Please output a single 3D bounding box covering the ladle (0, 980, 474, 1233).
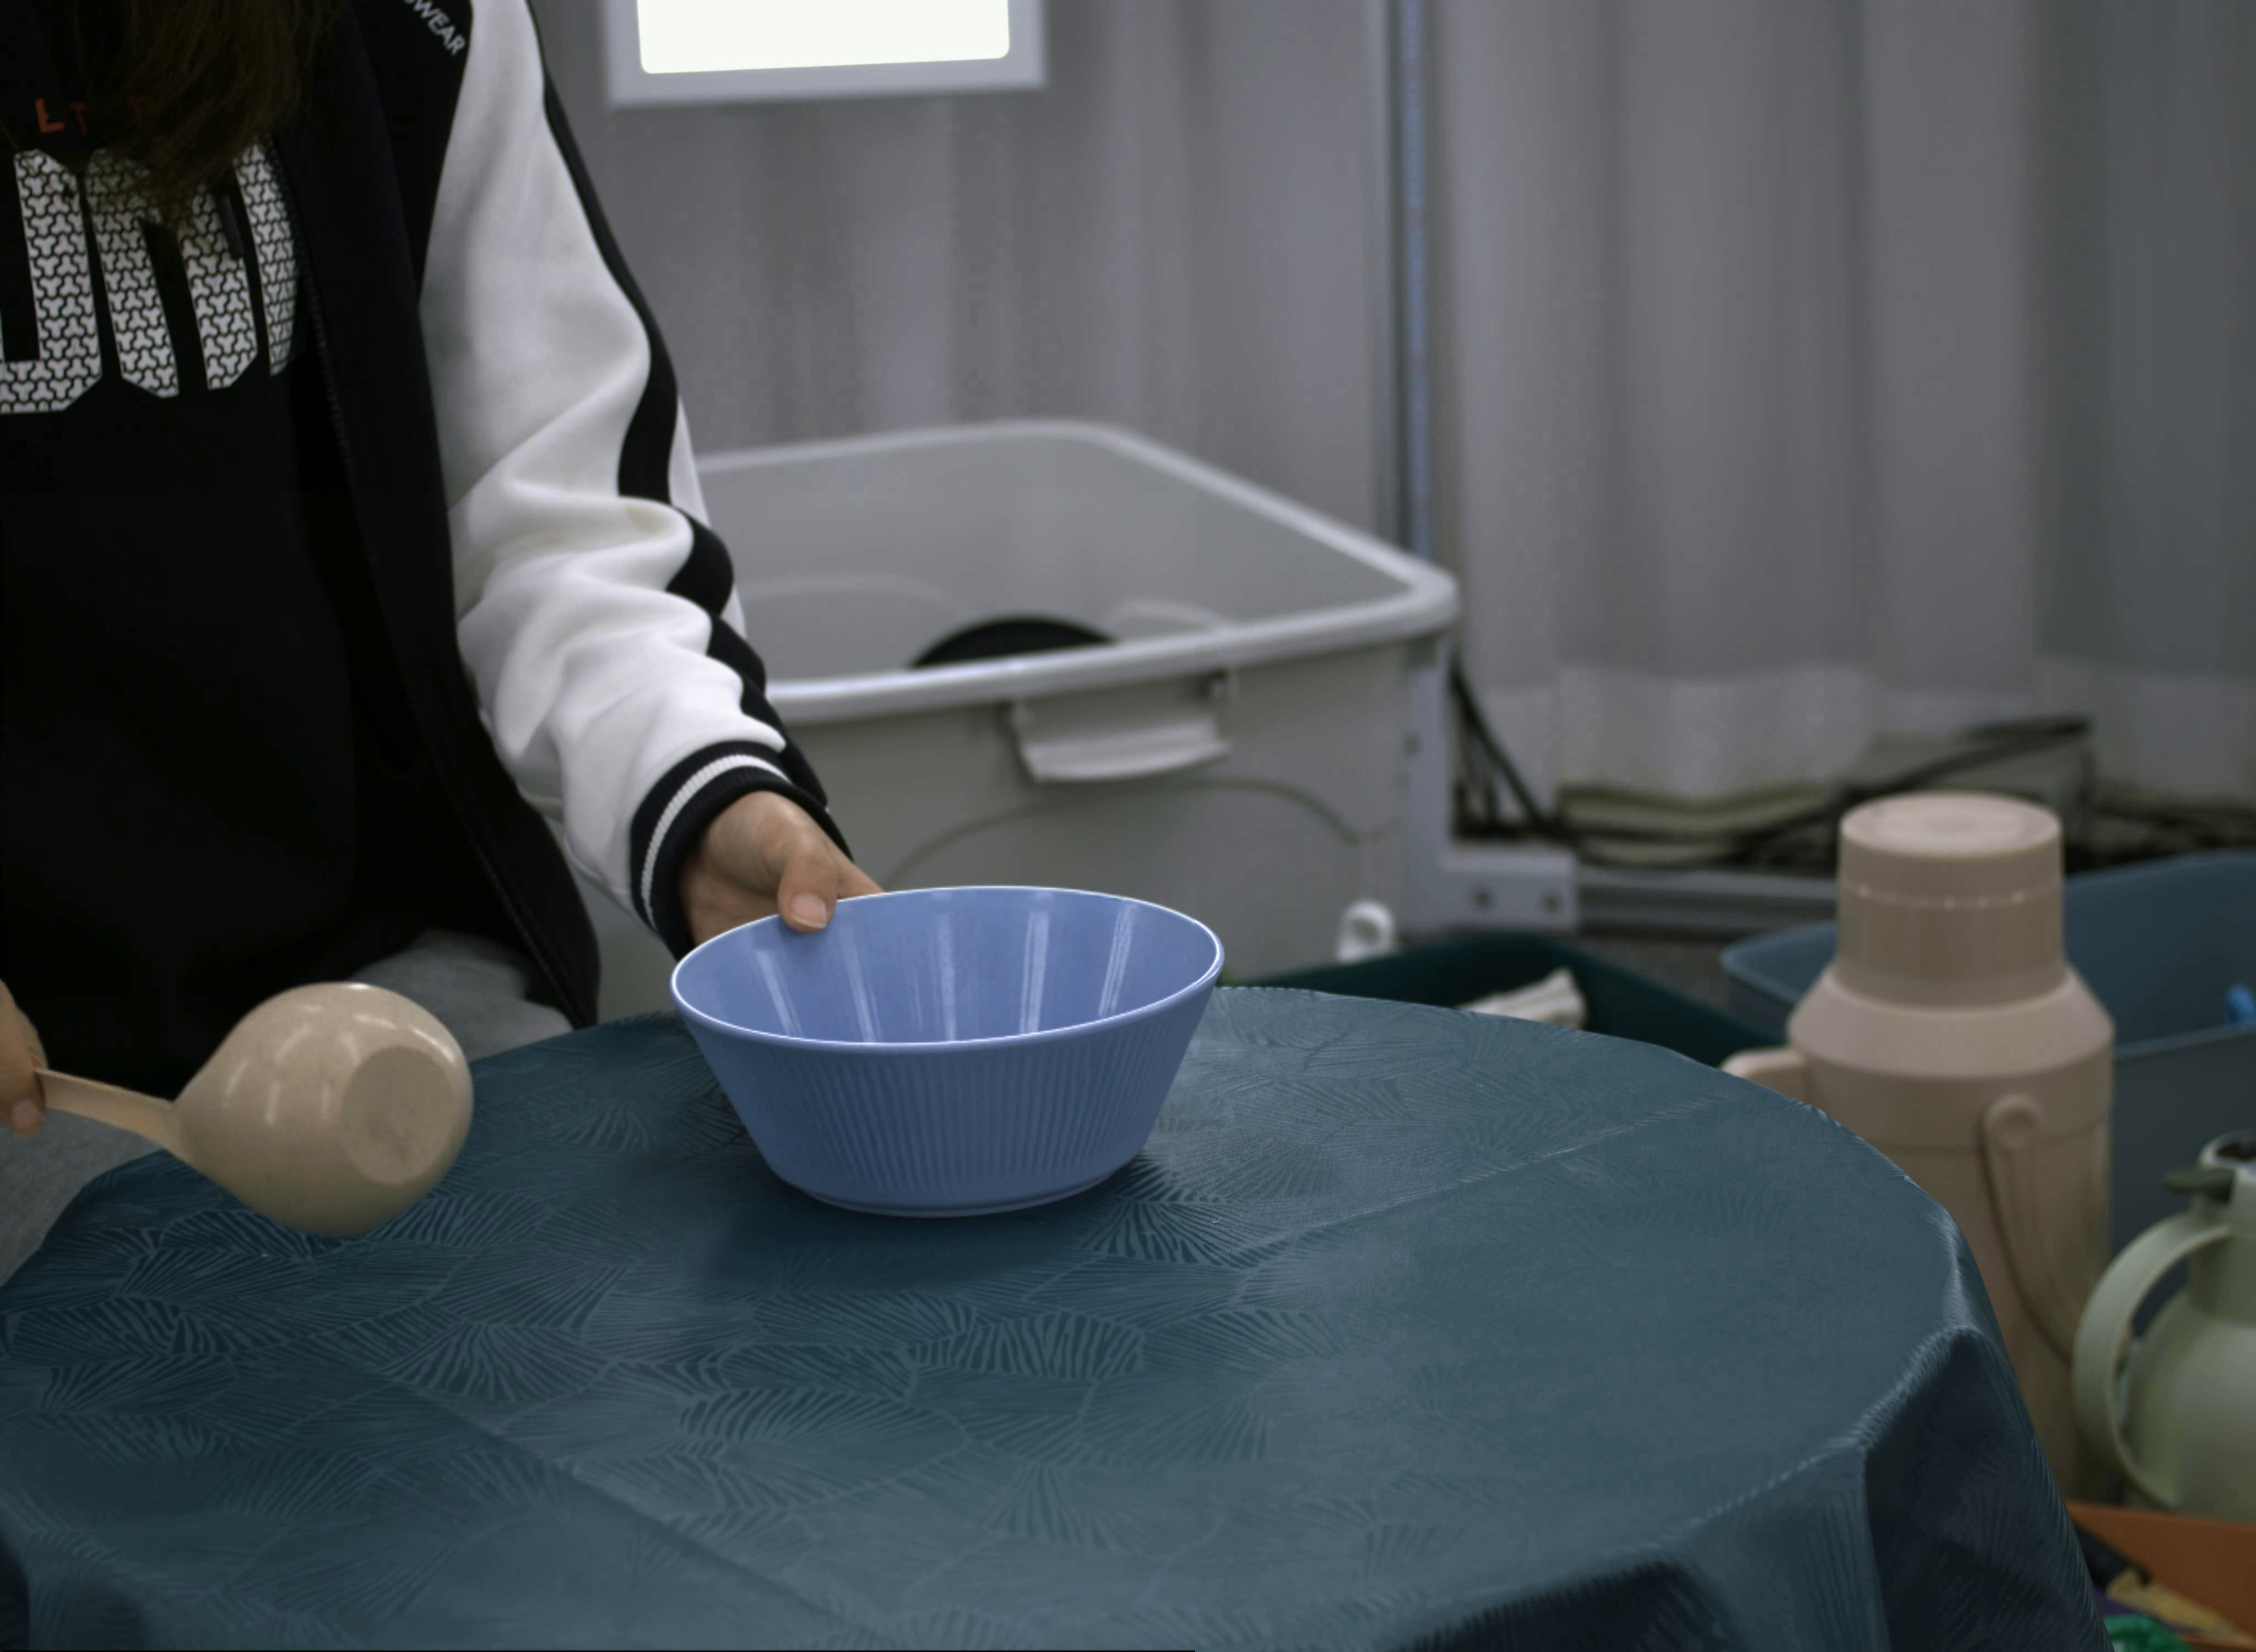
[{"bbox_3d":[-0.284,0.070,1.619,0.072,0.072,0.255,-13,13,-37],"label":"ladle"}]

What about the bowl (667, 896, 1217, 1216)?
[{"bbox_3d":[-0.058,0.075,1.740,0.175,0.070,0.177,-2,14,0],"label":"bowl"}]
